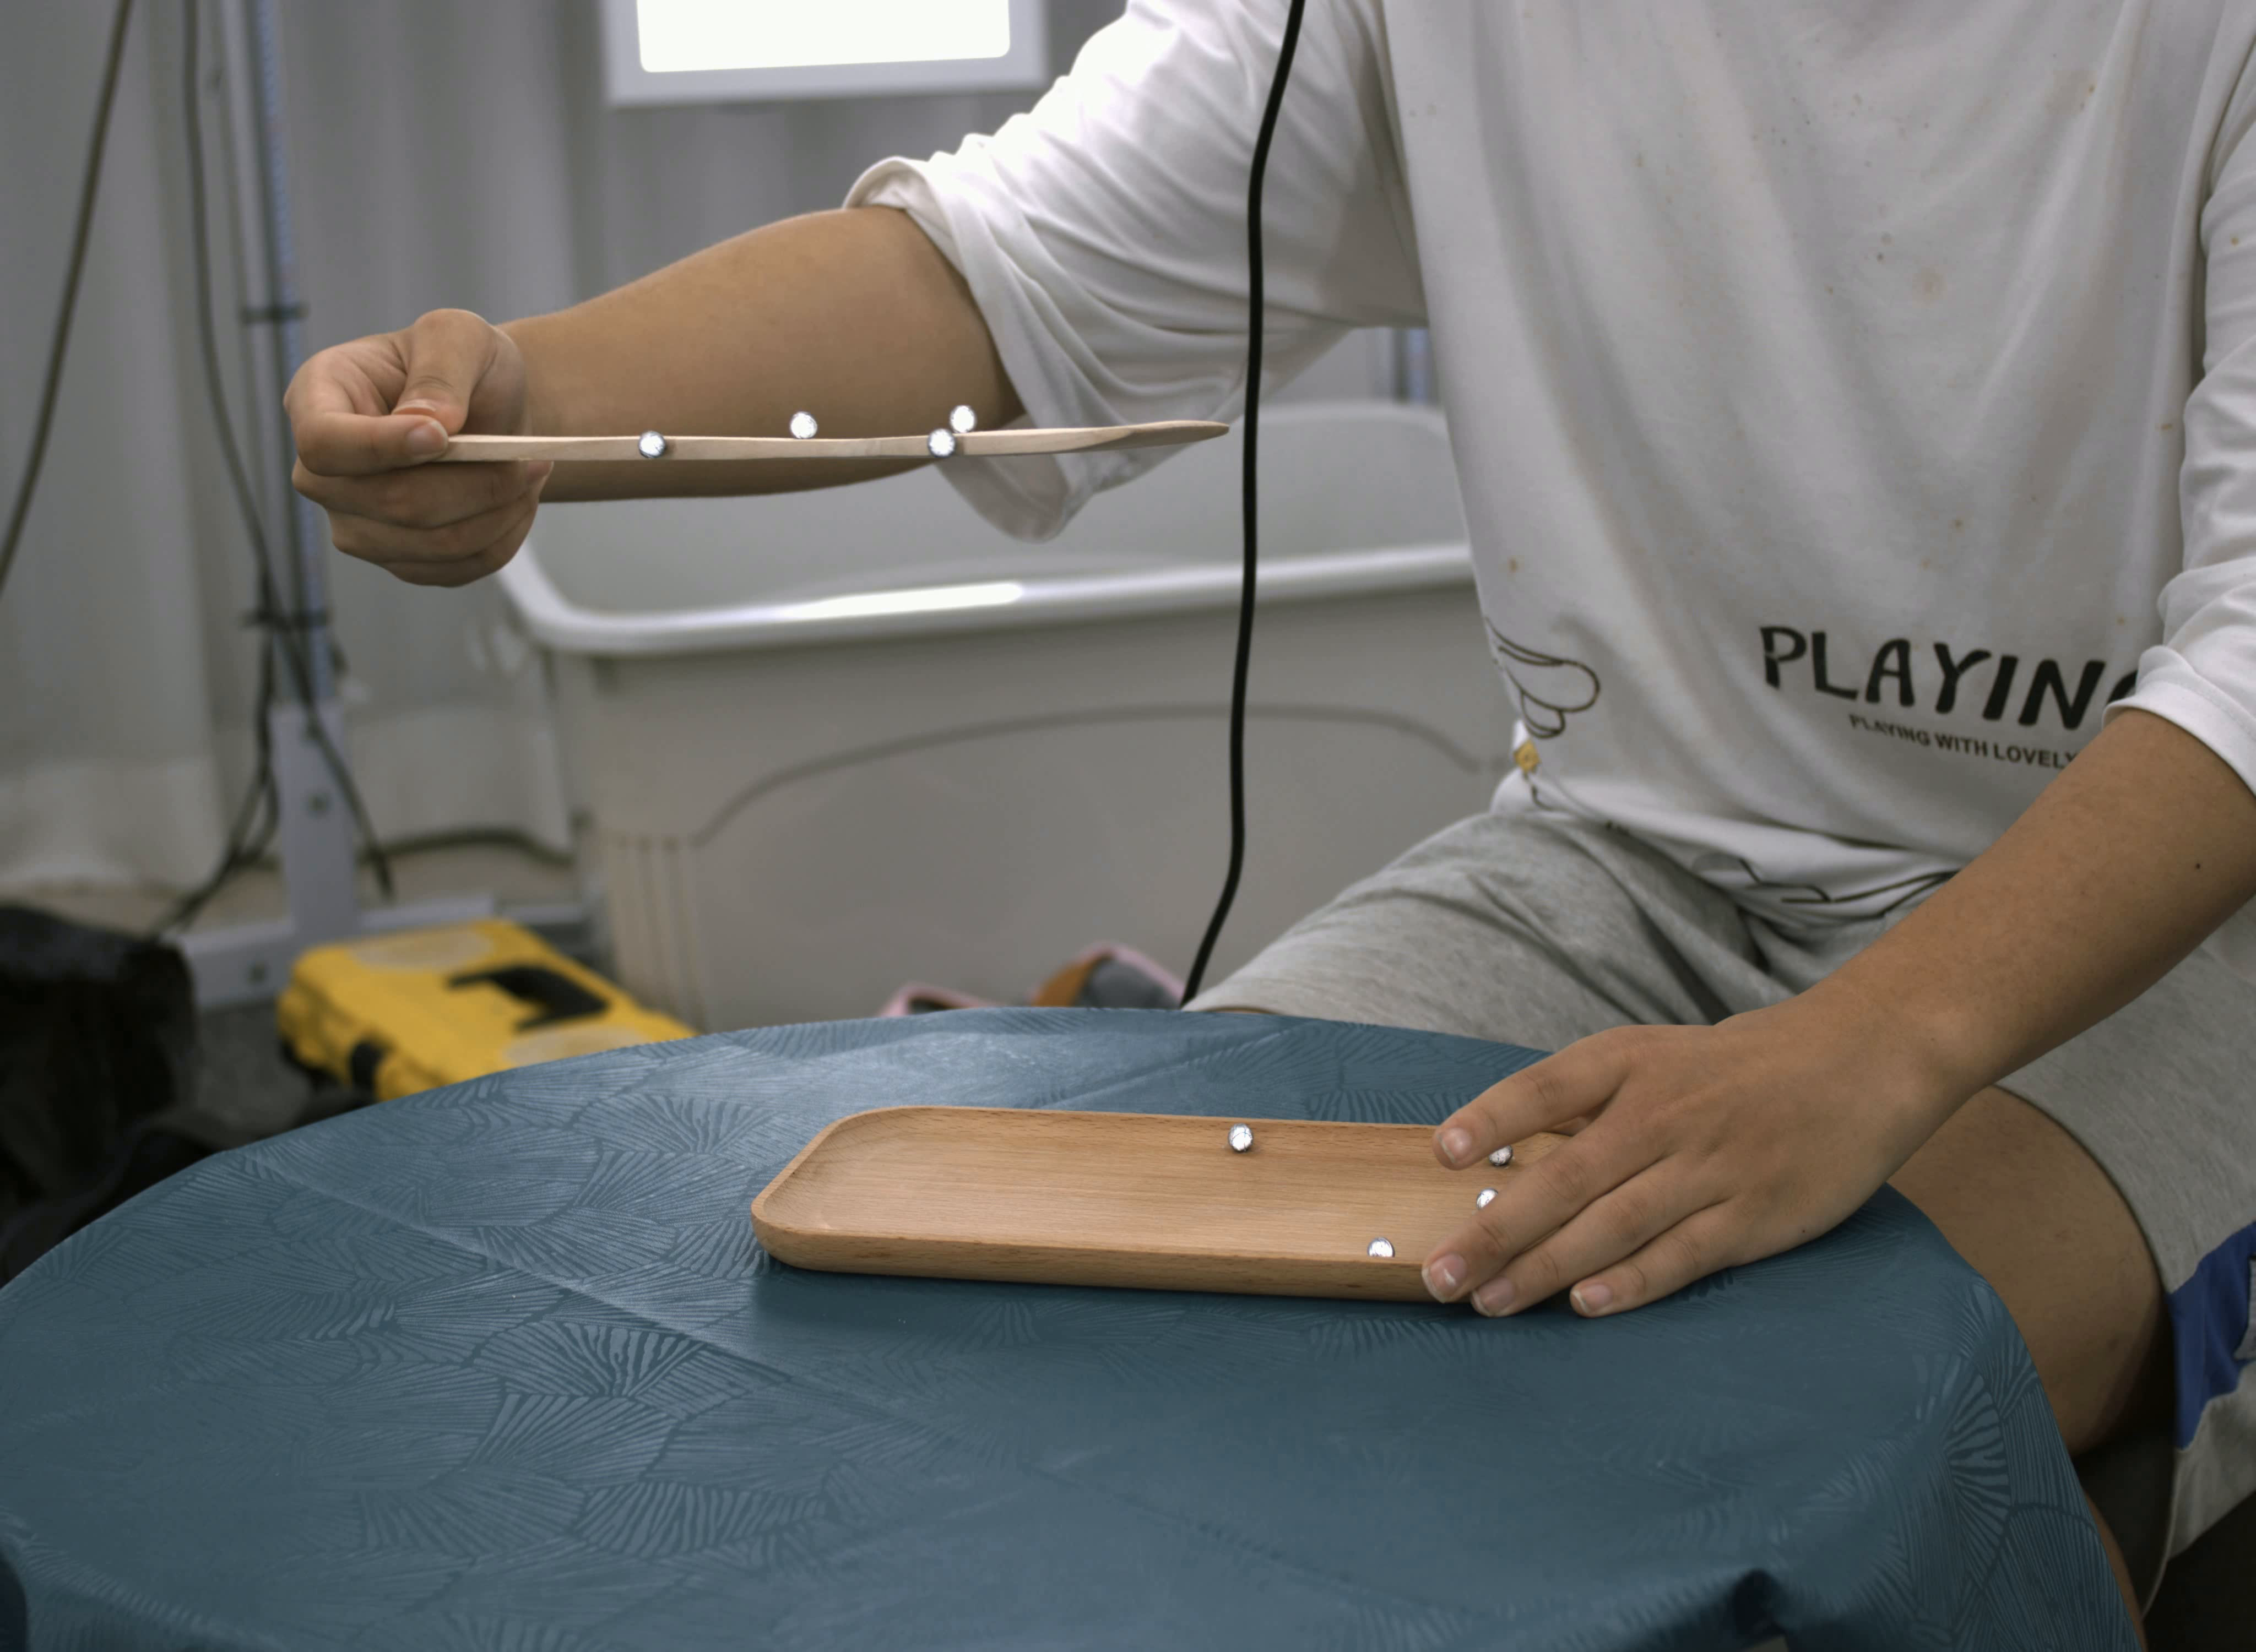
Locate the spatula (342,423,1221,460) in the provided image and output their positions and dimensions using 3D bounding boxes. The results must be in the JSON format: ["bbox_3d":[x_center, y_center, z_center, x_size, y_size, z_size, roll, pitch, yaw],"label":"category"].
[{"bbox_3d":[-0.115,-0.116,1.669,0.293,0.010,0.072,1,6,27],"label":"spatula"}]

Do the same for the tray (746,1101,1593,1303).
[{"bbox_3d":[0.013,0.115,1.684,0.250,0.023,0.131,1,13,17],"label":"tray"}]
